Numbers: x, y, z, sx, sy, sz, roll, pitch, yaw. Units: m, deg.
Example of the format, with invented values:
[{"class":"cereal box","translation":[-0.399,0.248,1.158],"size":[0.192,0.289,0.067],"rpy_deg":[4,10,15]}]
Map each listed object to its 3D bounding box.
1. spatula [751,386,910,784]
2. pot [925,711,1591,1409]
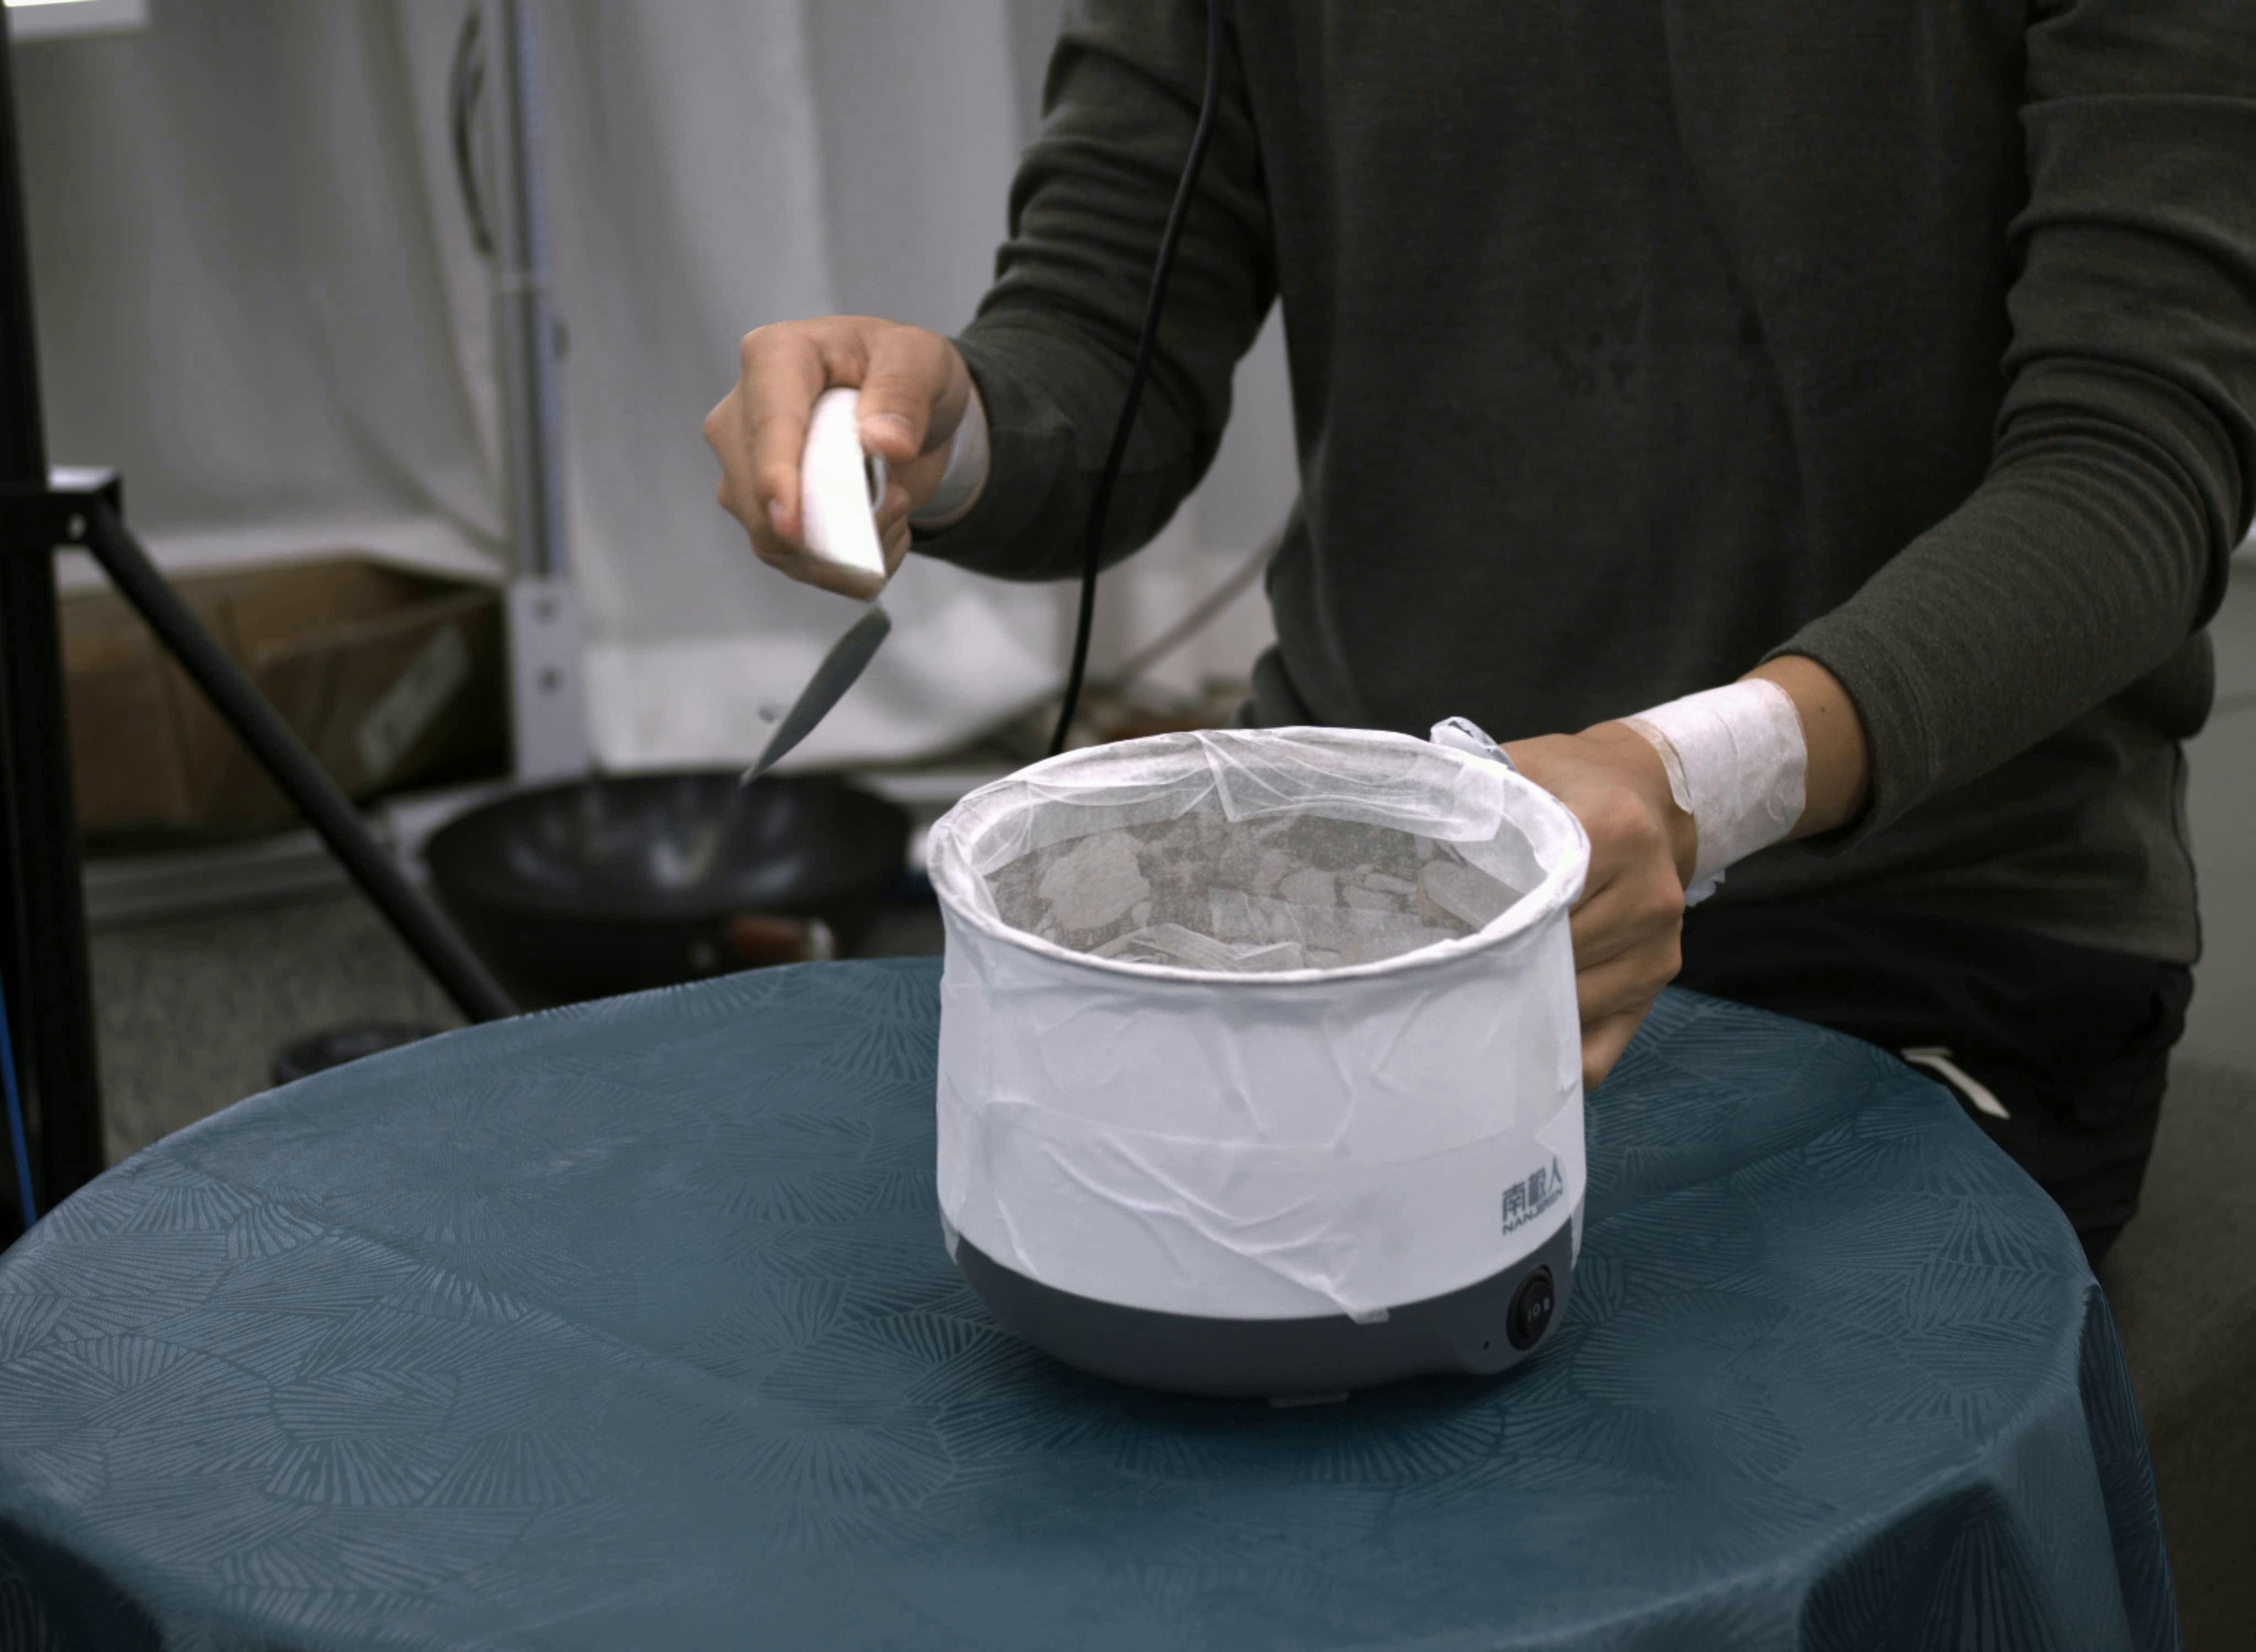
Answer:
[{"class":"spatula","translation":[-0.080,-0.074,1.506],"size":[0.032,0.059,0.289],"rpy_deg":[35,14,-13]},{"class":"pot","translation":[0.051,0.054,1.448],"size":[0.182,0.136,0.229],"rpy_deg":[14,27,33]}]
